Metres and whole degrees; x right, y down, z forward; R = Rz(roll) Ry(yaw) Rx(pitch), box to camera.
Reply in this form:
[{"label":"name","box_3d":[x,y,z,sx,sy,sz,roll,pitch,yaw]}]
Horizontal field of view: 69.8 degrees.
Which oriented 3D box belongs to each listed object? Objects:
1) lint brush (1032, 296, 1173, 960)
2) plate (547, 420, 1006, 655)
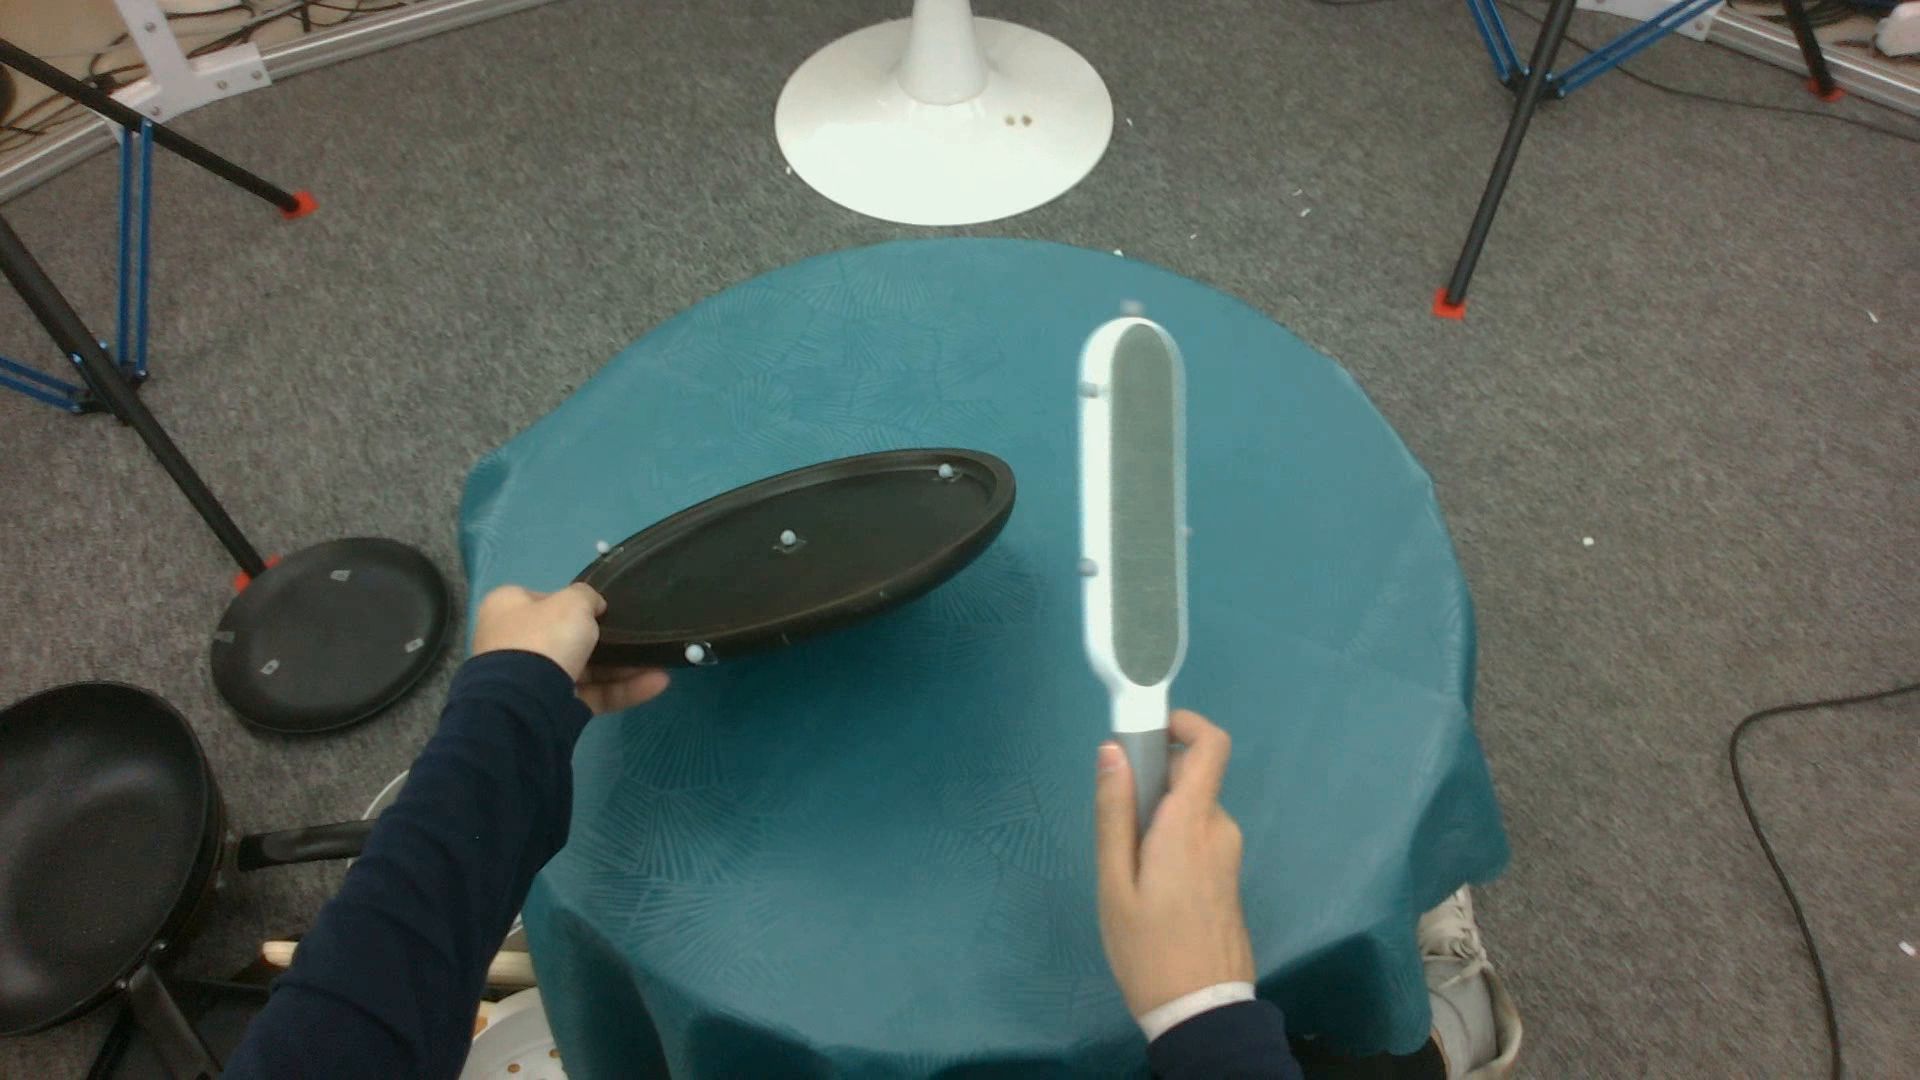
[{"label":"lint brush","box_3d":[0.069,0.039,0.638,0.060,0.021,0.309,-4,86,-47]},{"label":"plate","box_3d":[-0.096,-0.004,0.744,0.254,0.029,0.255,-16,19,6]}]
